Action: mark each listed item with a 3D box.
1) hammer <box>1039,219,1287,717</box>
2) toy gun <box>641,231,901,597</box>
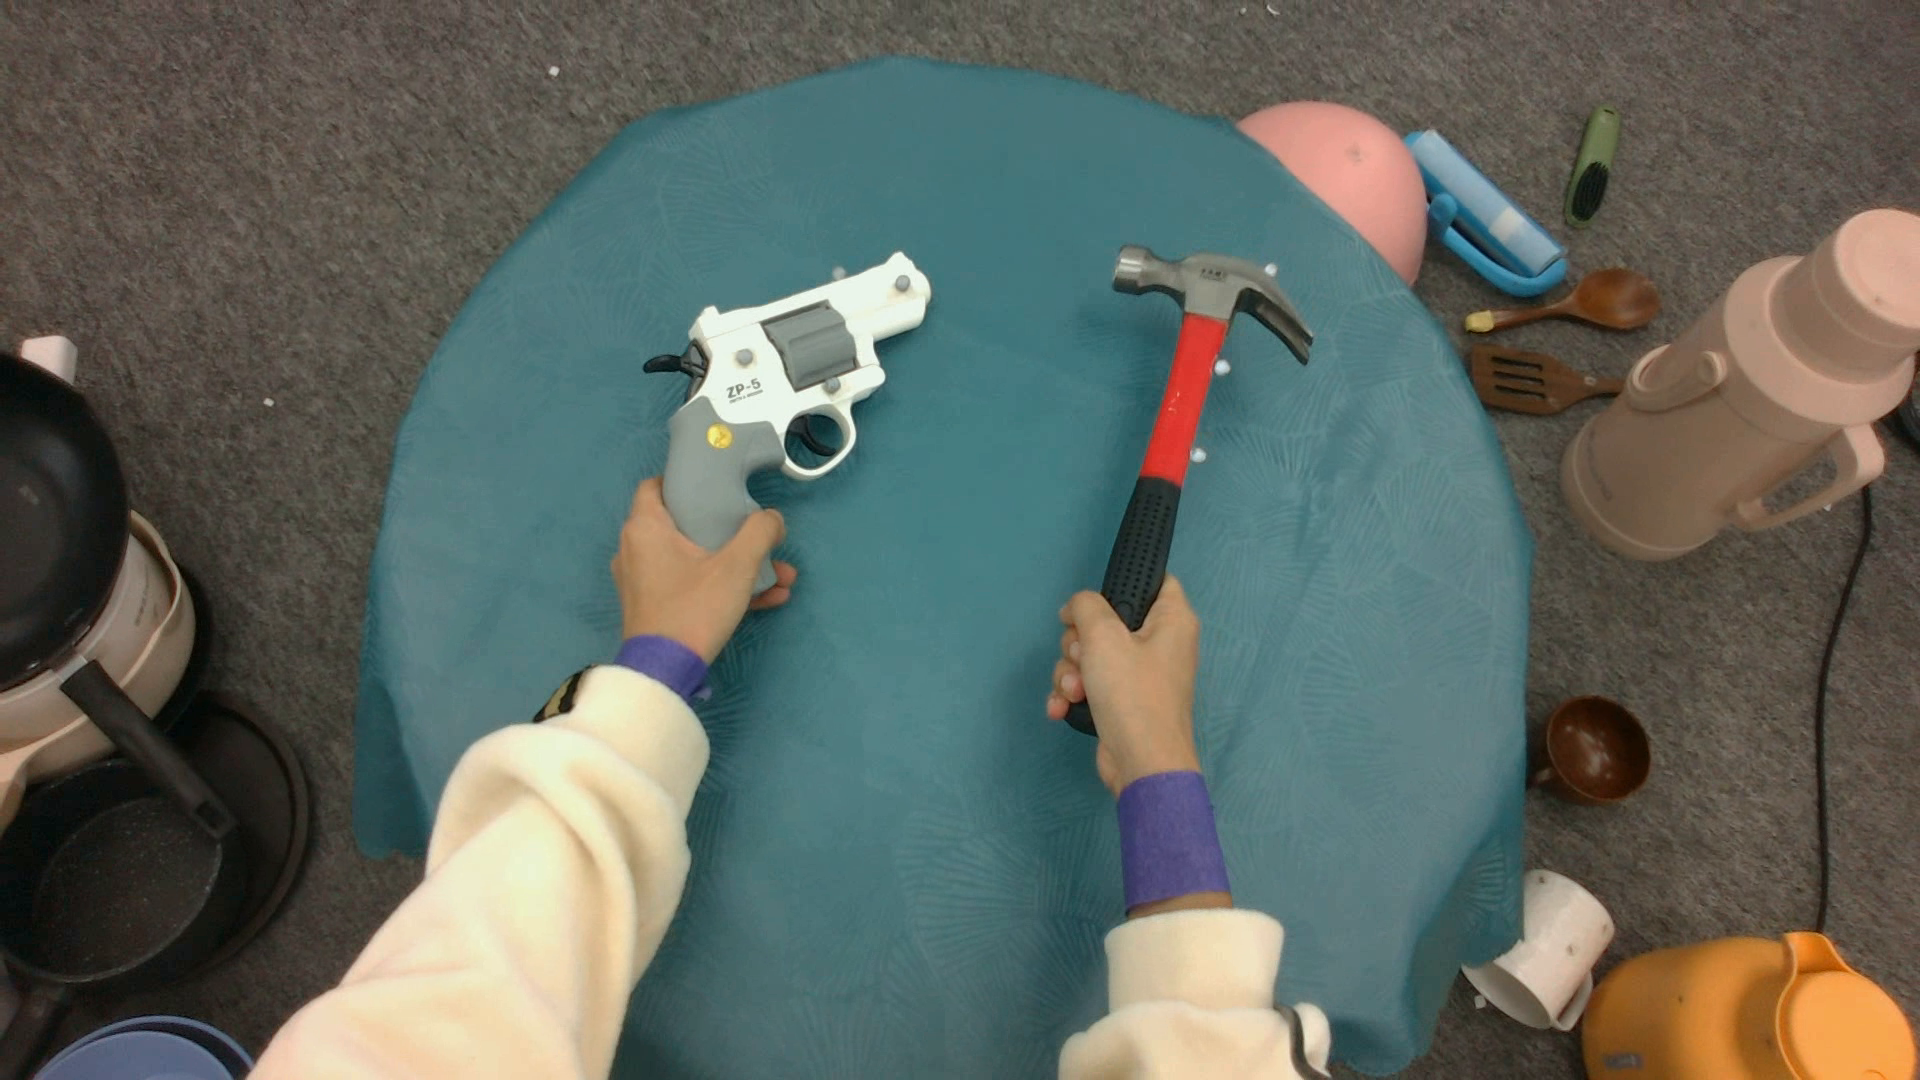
[{"bbox_3d":[0.091,-0.041,0.686,0.111,0.026,0.278,17,63,3],"label":"hammer"},{"bbox_3d":[-0.092,-0.071,0.709,0.210,0.038,0.141,-29,88,-32],"label":"toy gun"}]
